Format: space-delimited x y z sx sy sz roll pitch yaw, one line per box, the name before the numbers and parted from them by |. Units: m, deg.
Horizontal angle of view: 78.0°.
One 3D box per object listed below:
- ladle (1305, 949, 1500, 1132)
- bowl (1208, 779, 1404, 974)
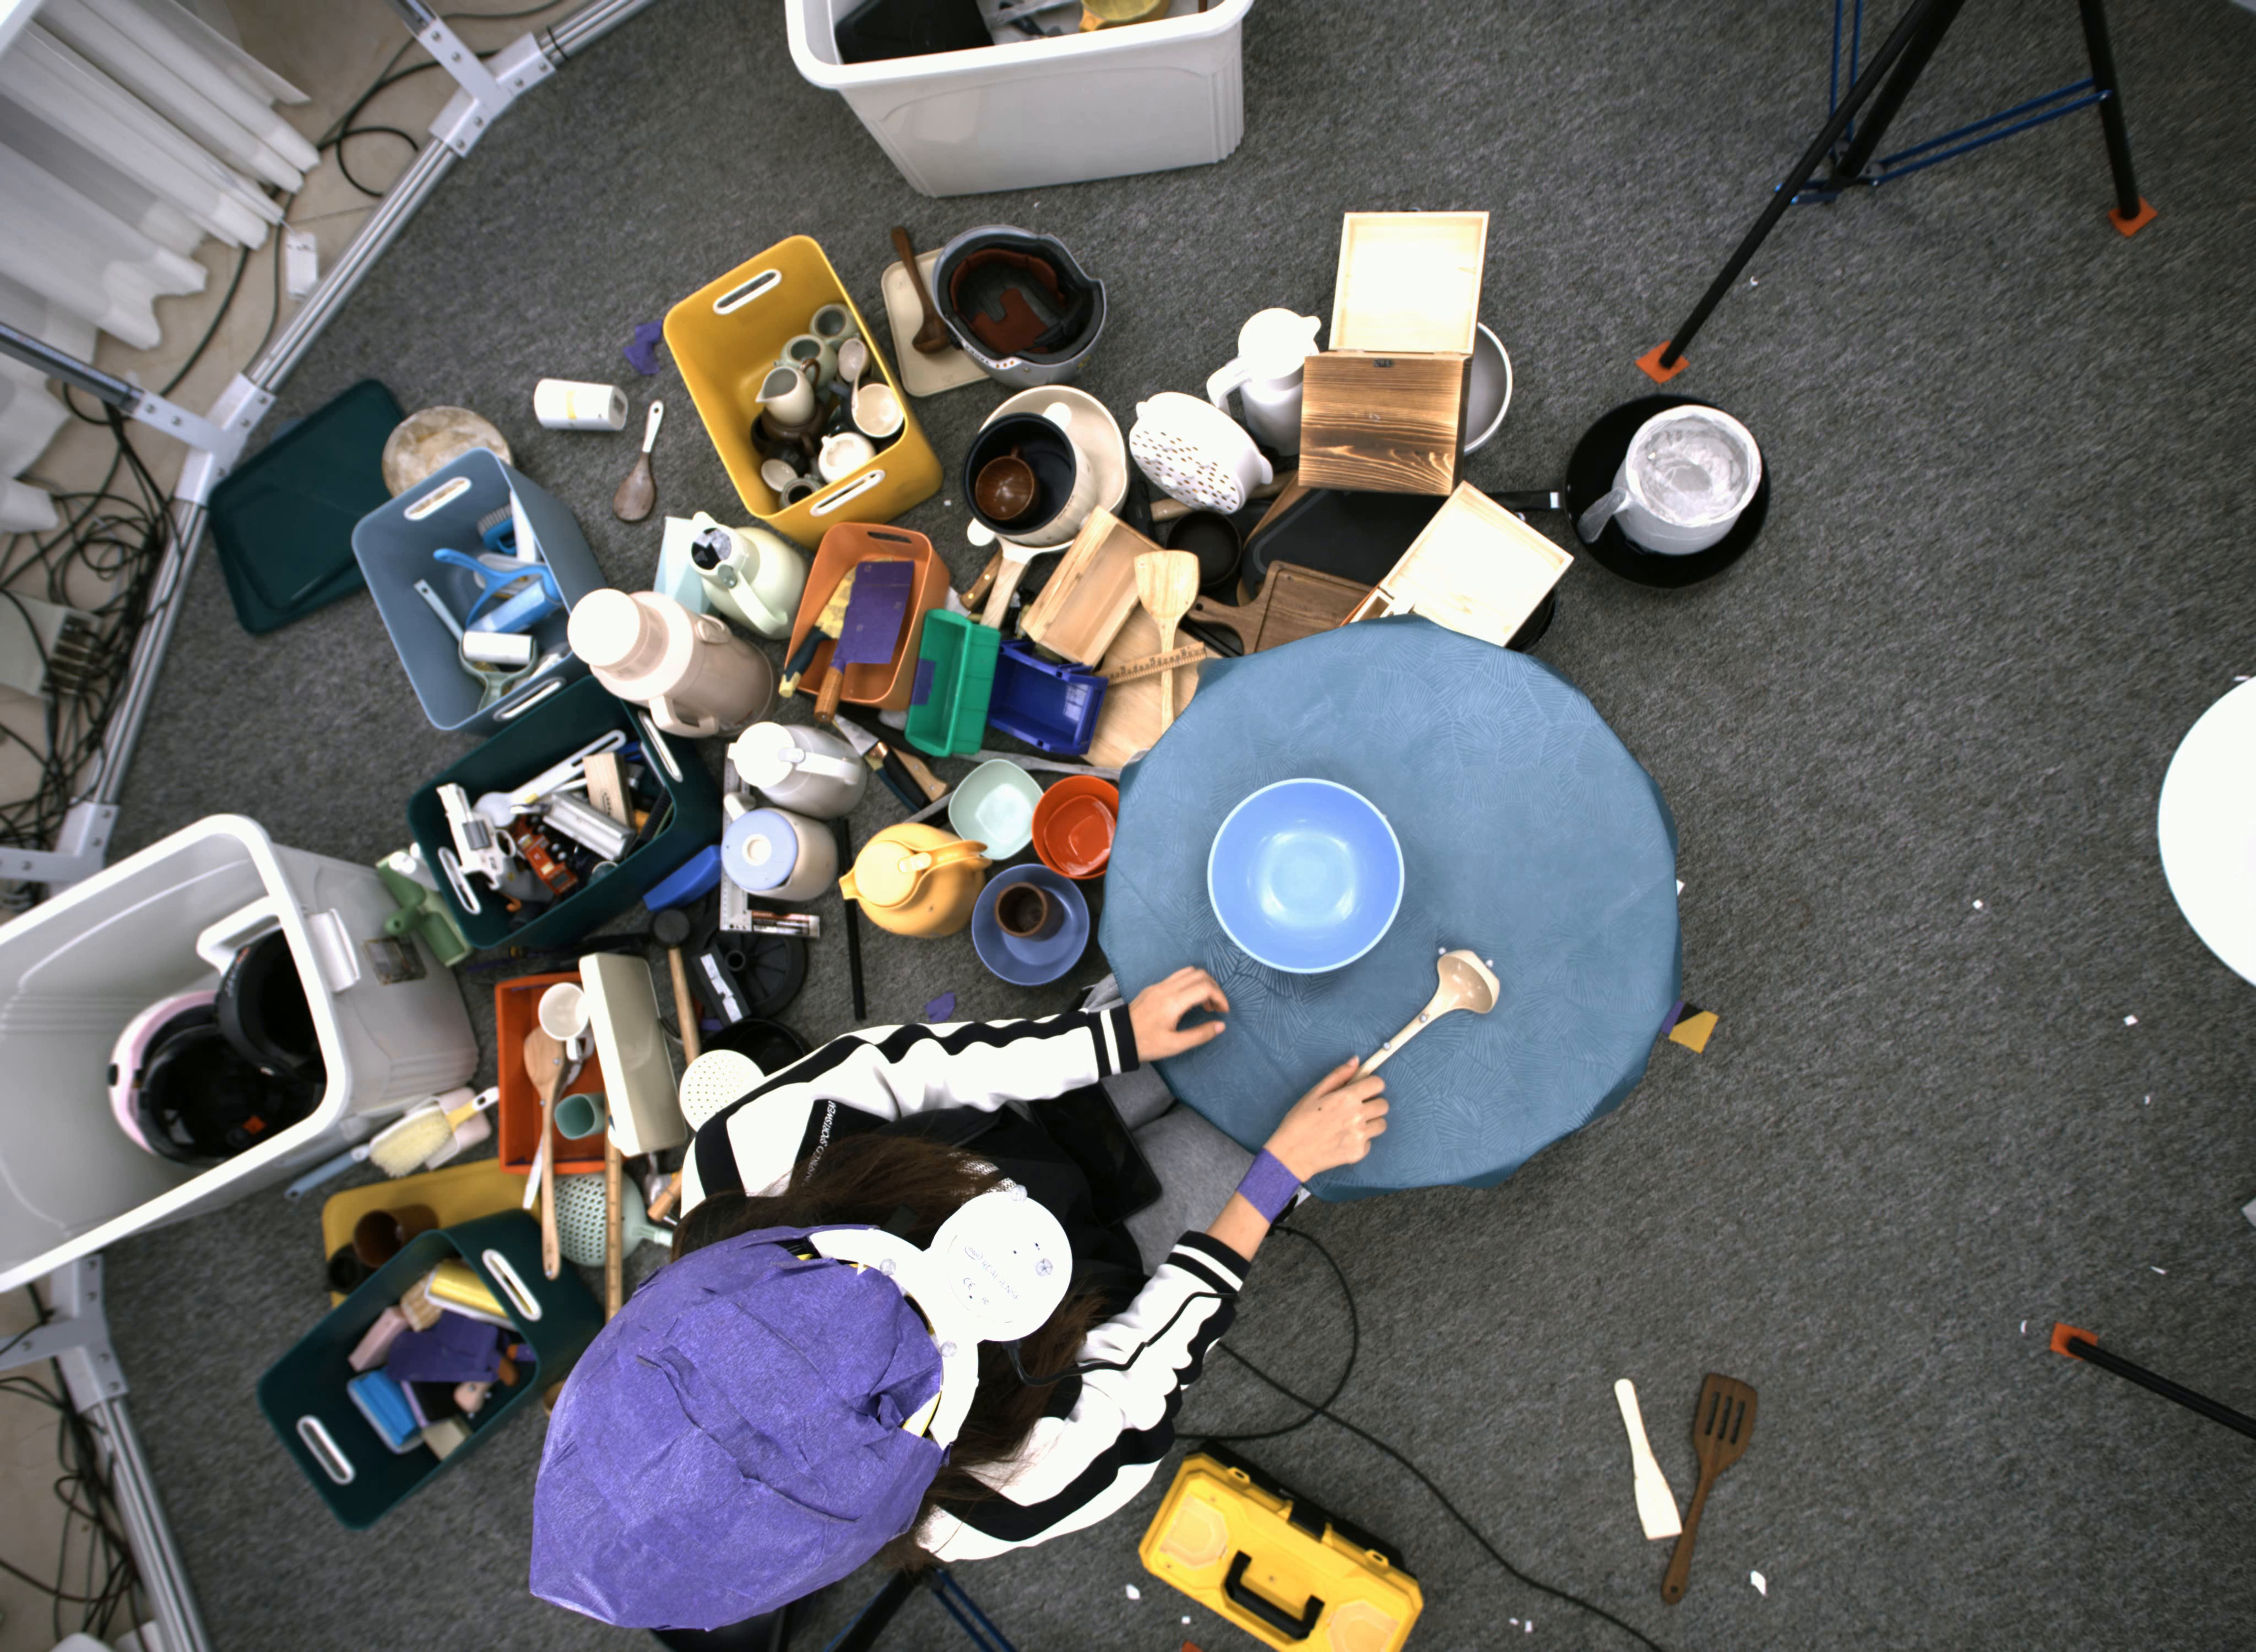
ladle | 0.273 0.226 1.414 0.255 0.073 0.072 -44 78 5
bowl | 0.185 0.053 1.432 0.197 0.095 0.196 -1 88 10
